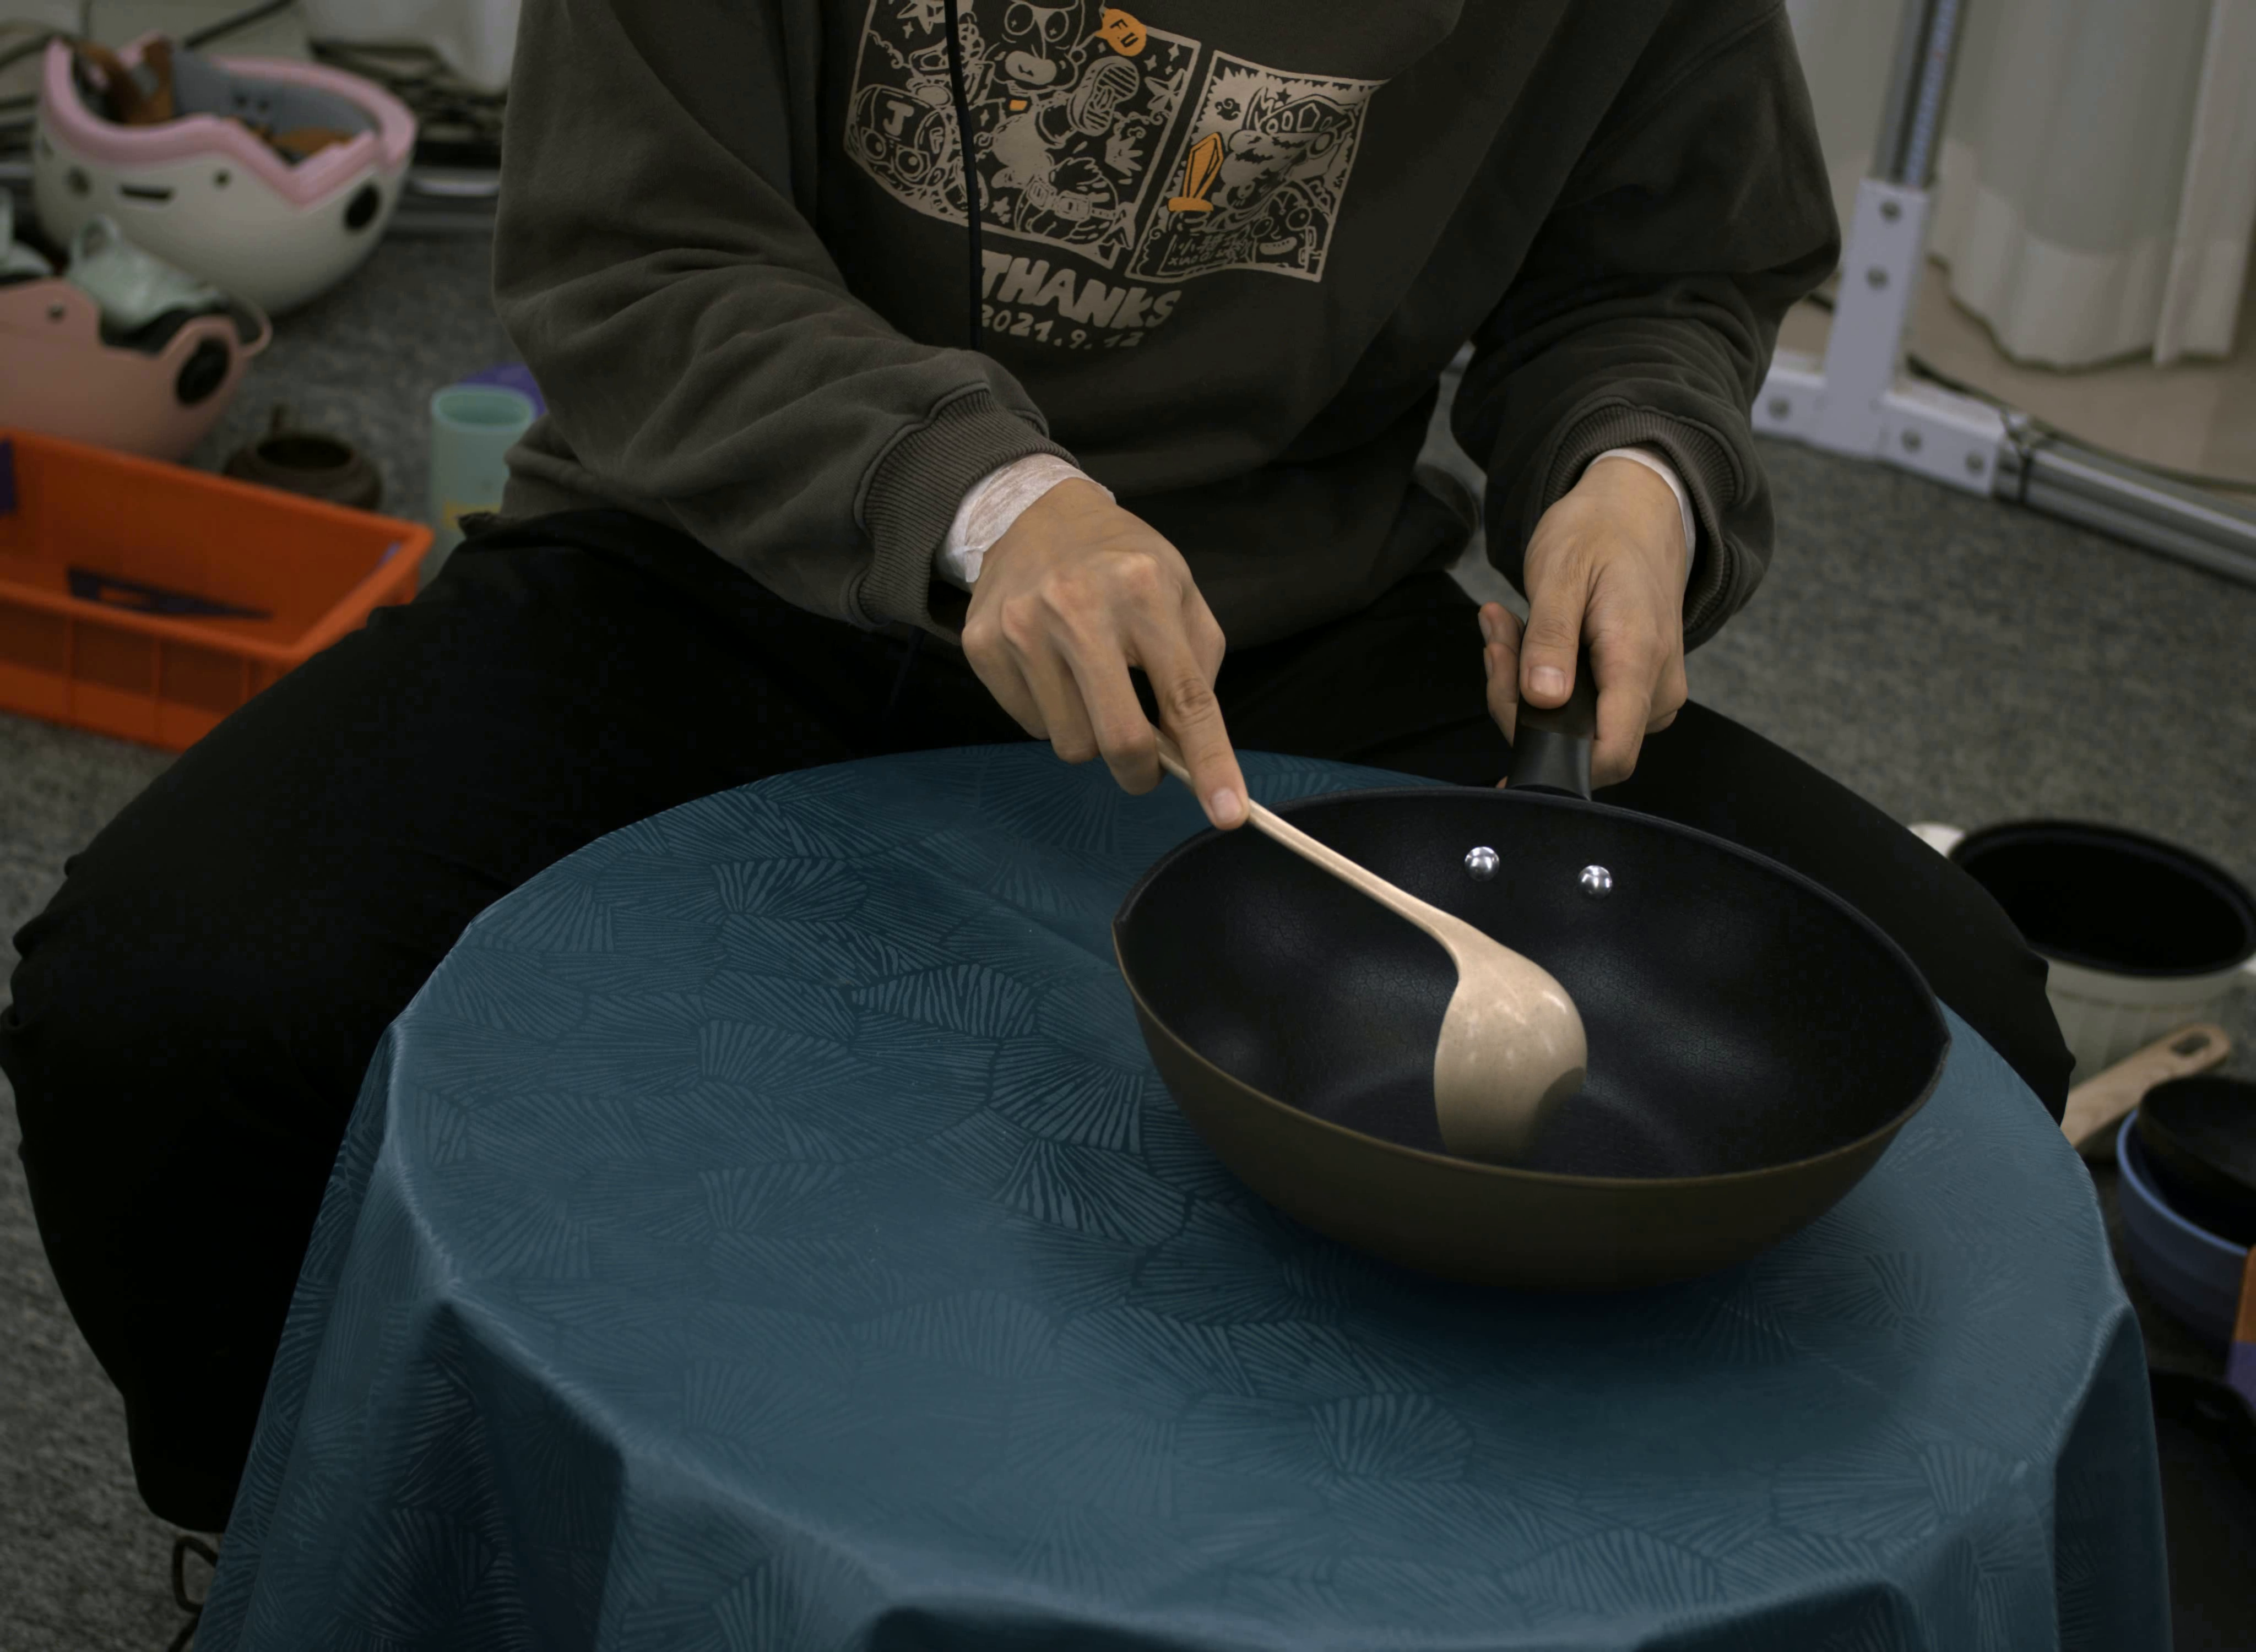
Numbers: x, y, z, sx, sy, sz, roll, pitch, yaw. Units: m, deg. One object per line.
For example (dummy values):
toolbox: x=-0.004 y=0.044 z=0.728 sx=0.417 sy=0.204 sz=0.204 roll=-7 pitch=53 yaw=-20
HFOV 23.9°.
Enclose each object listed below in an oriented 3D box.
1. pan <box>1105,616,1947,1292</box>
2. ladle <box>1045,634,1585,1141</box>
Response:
pan: x=0.141 y=0.045 z=1.900 sx=0.287 sy=0.086 sz=0.465 roll=8 pitch=25 yaw=4
ladle: x=0.052 y=0.028 z=1.868 sx=0.256 sy=0.072 sz=0.072 roll=36 pitch=29 yaw=27
